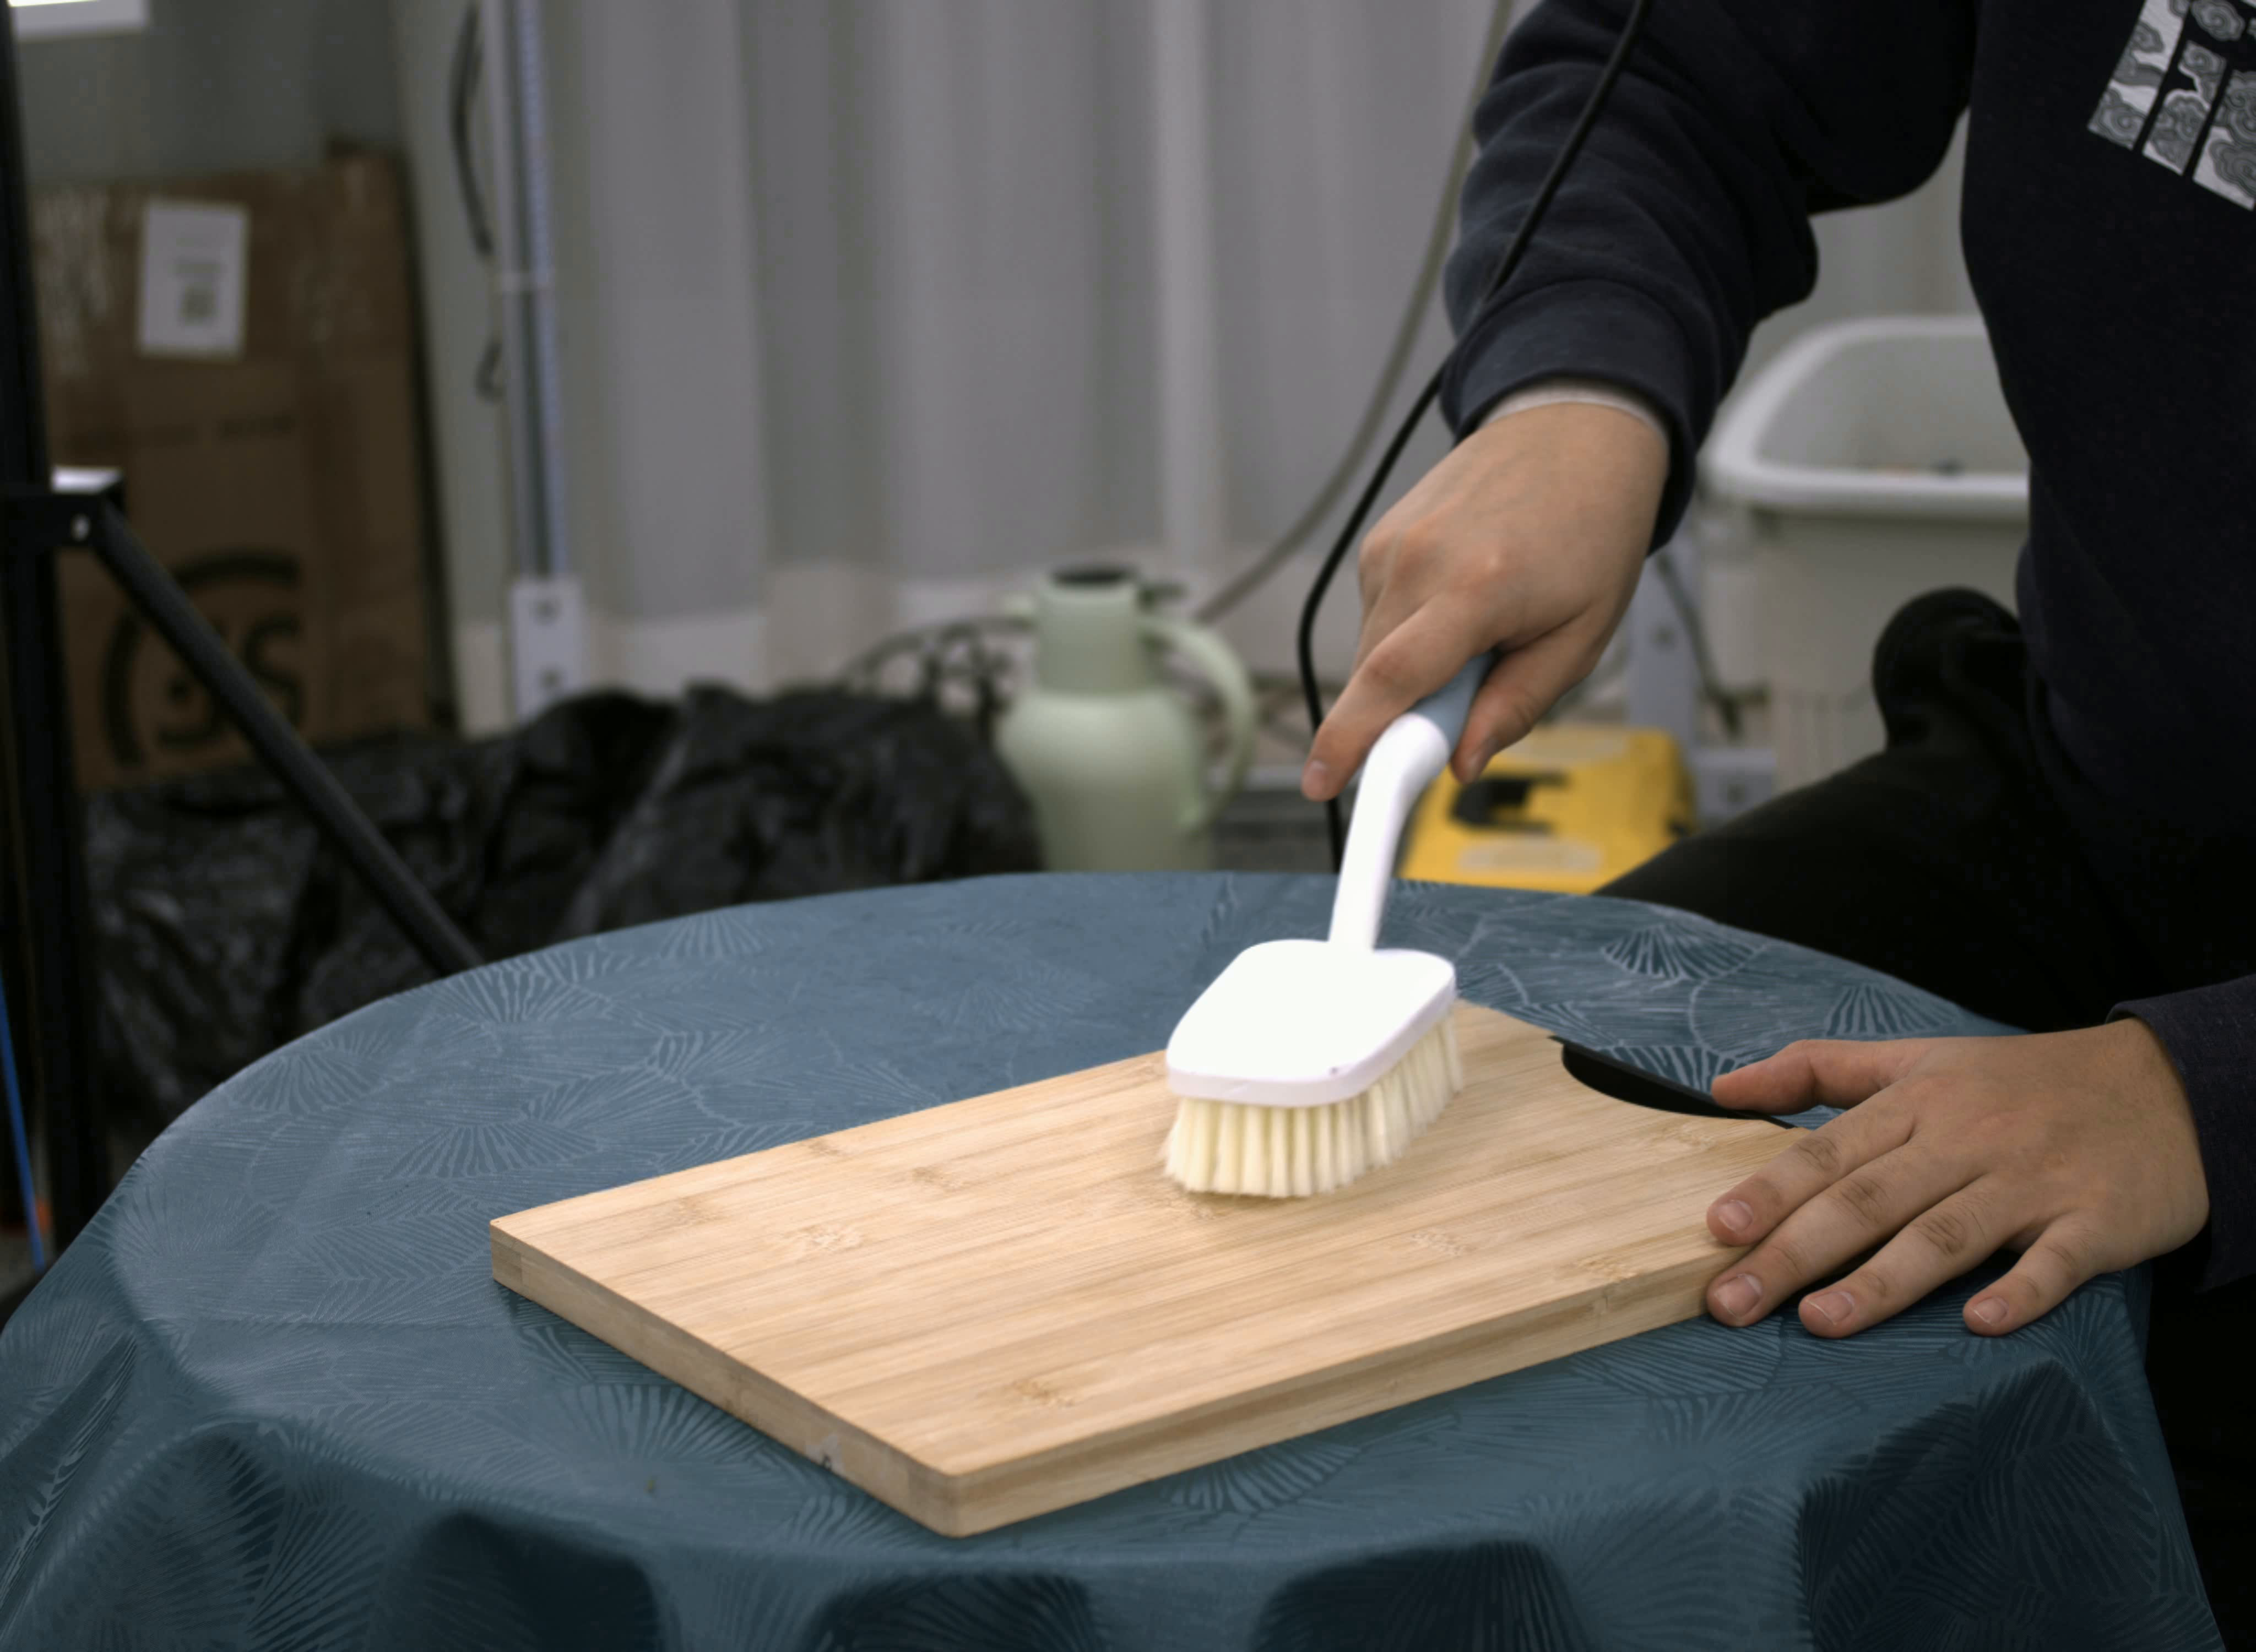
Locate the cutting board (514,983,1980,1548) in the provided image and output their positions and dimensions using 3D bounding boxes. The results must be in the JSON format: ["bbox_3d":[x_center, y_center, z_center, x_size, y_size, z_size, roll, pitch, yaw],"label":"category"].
[{"bbox_3d":[0.031,0.114,1.500,0.341,0.023,0.256,-13,19,-32],"label":"cutting board"}]

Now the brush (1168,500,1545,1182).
[{"bbox_3d":[0.086,0.016,1.617,0.083,0.085,0.324,30,39,0],"label":"brush"}]
